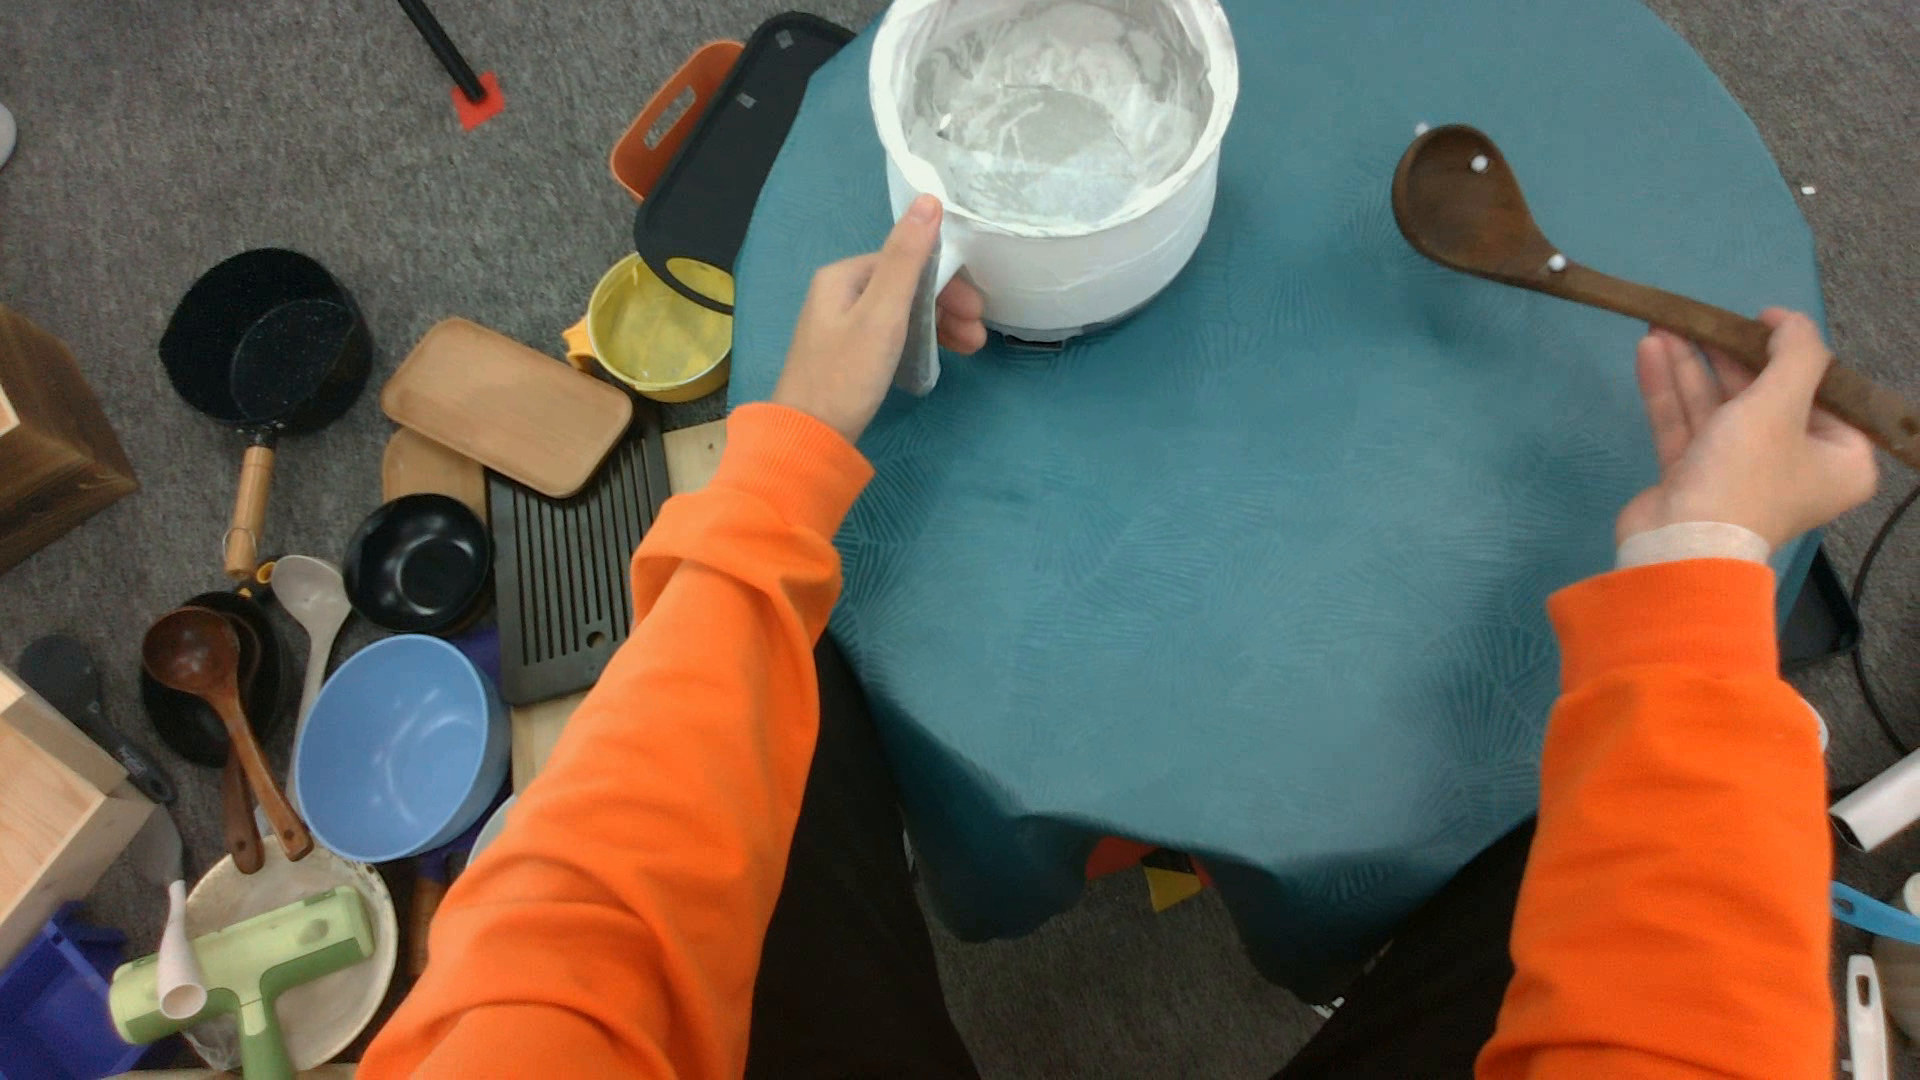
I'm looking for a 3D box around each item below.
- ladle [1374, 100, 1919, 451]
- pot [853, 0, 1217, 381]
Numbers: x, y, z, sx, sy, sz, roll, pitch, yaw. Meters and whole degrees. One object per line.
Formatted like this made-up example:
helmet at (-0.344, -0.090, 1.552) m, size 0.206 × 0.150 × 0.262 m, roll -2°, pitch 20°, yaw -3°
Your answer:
ladle at (0.318, -0.131, 0.645) m, size 0.076 × 0.071 × 0.274 m, roll -44°, pitch 55°, yaw -14°
pot at (0.024, -0.192, 0.718) m, size 0.179 × 0.136 × 0.234 m, roll 32°, pitch 78°, yaw 12°
